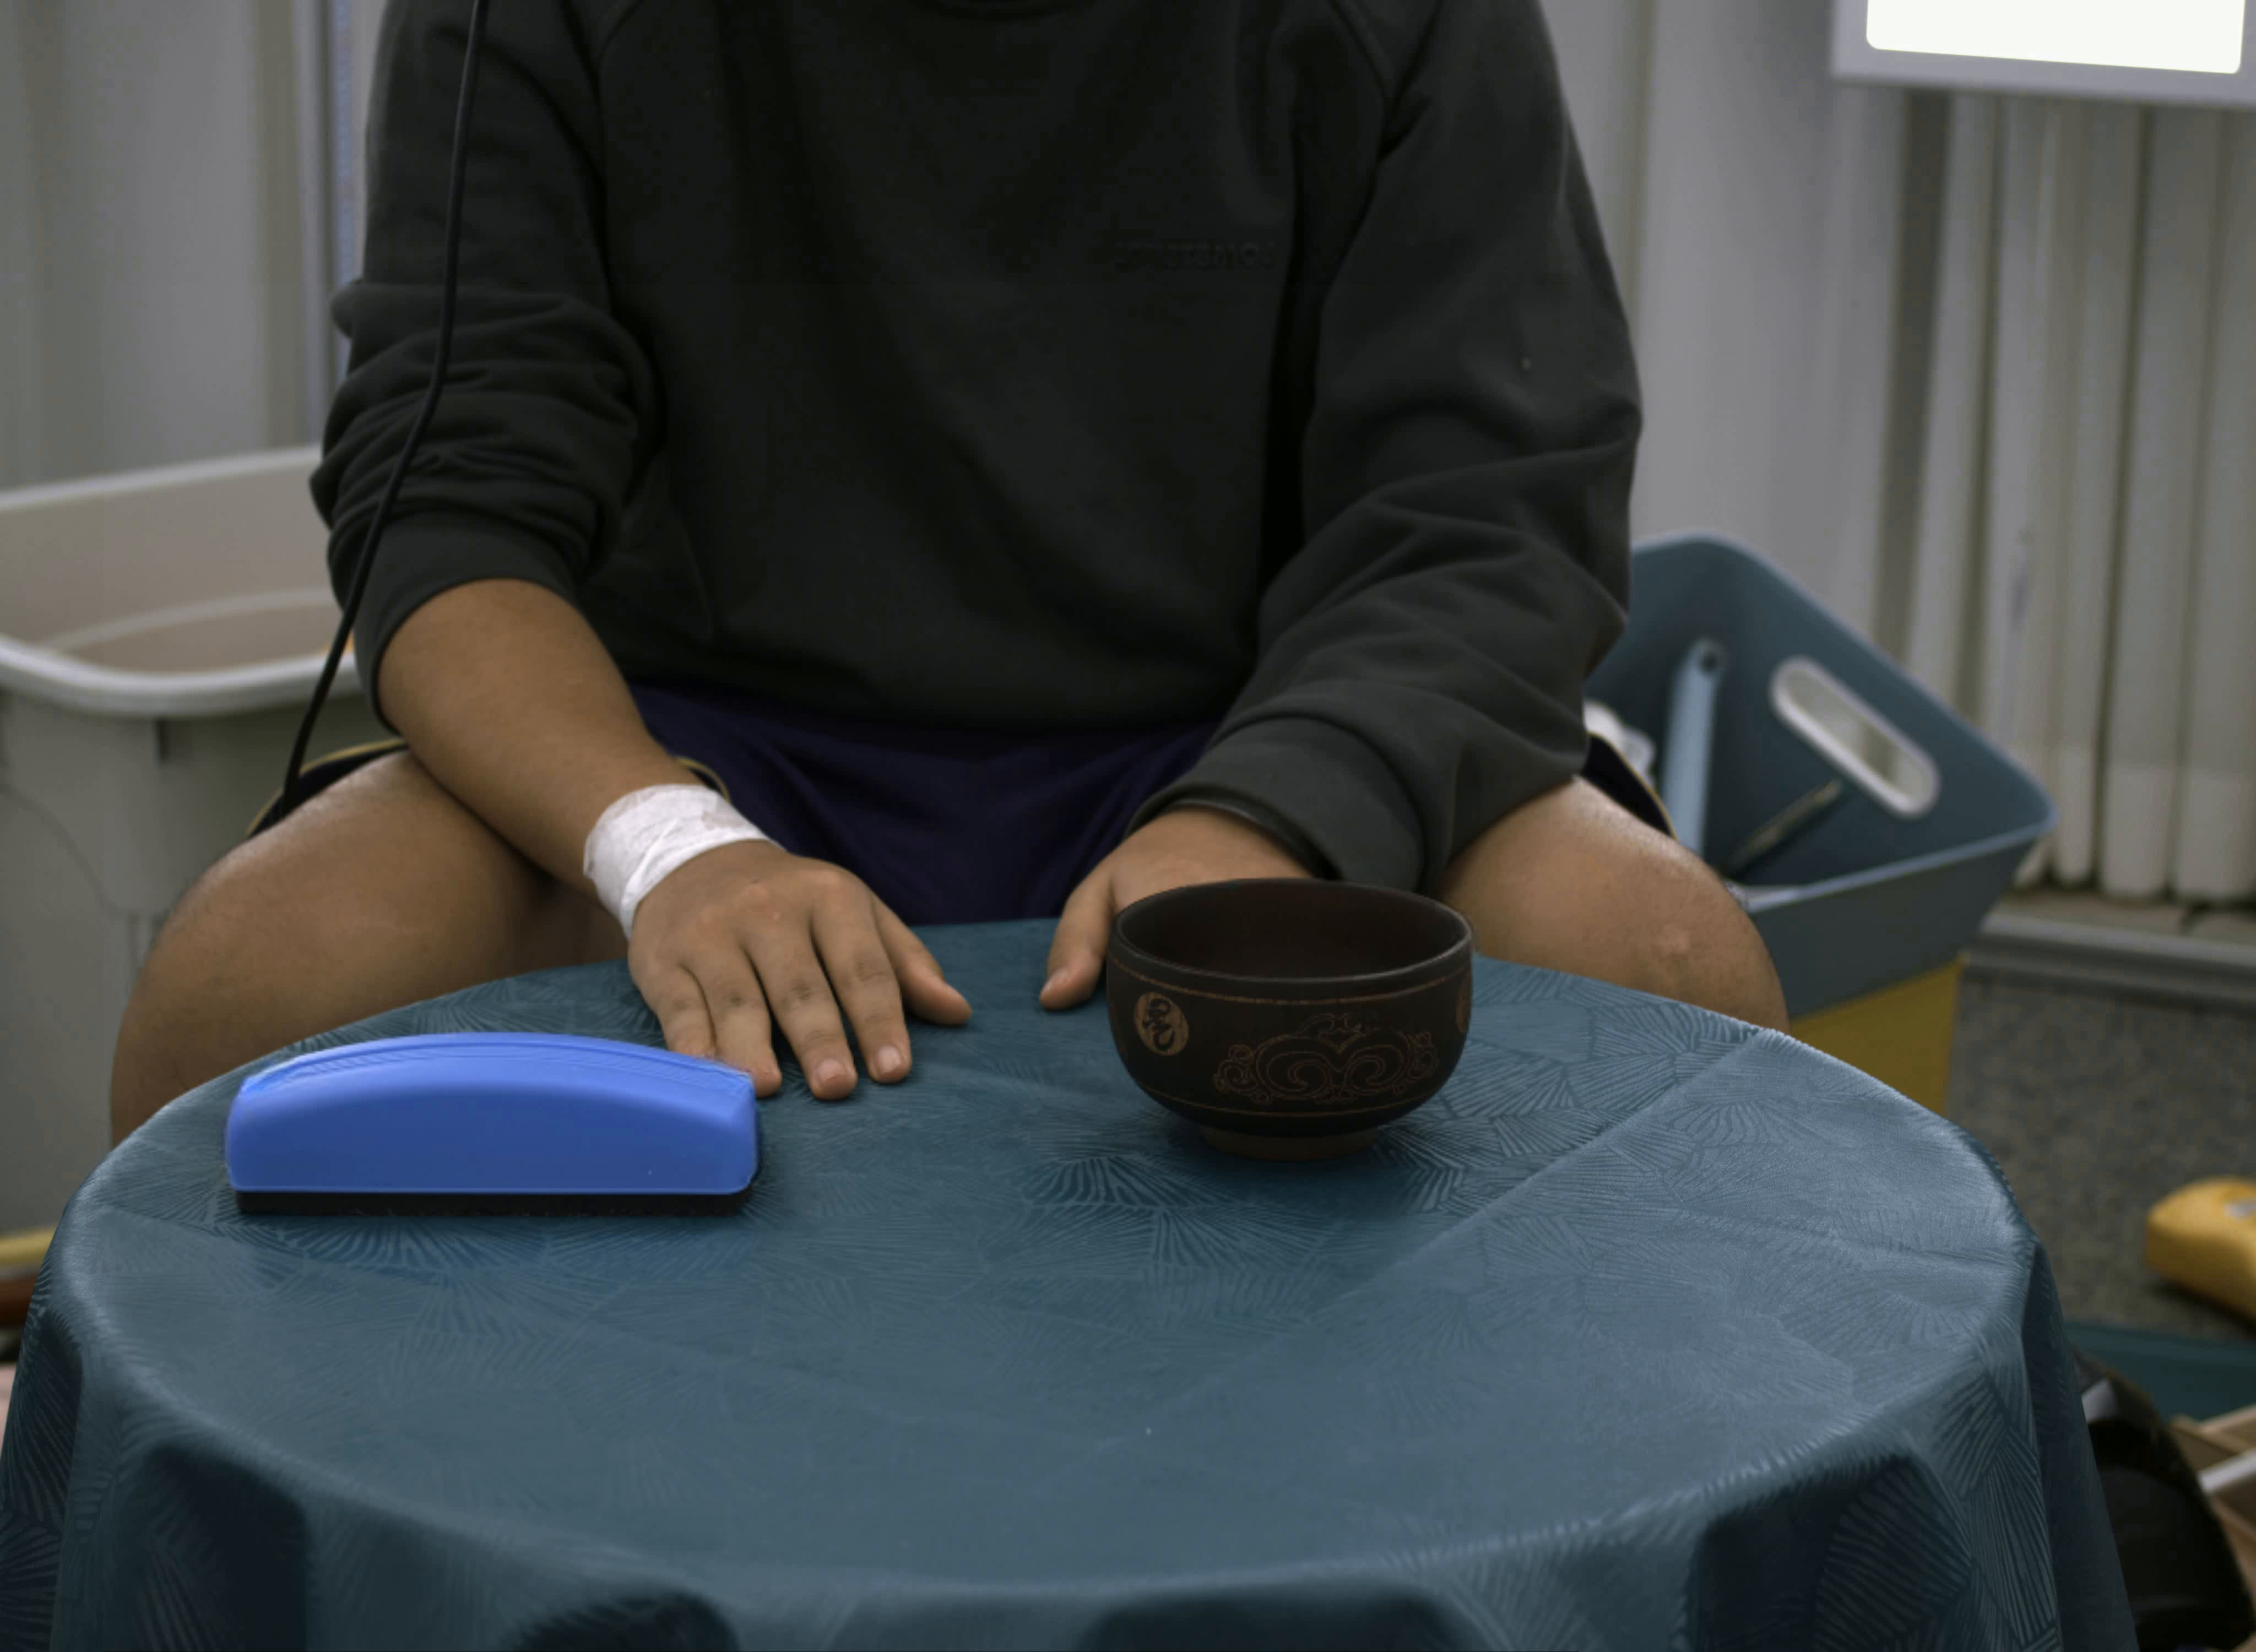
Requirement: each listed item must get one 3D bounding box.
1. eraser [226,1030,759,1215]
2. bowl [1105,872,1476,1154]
[{"bbox_3d":[-0.194,0.090,1.611,0.162,0.048,0.053,1,17,-2],"label":"eraser"},{"bbox_3d":[0.051,0.062,1.666,0.117,0.070,0.117,-1,15,1],"label":"bowl"}]
